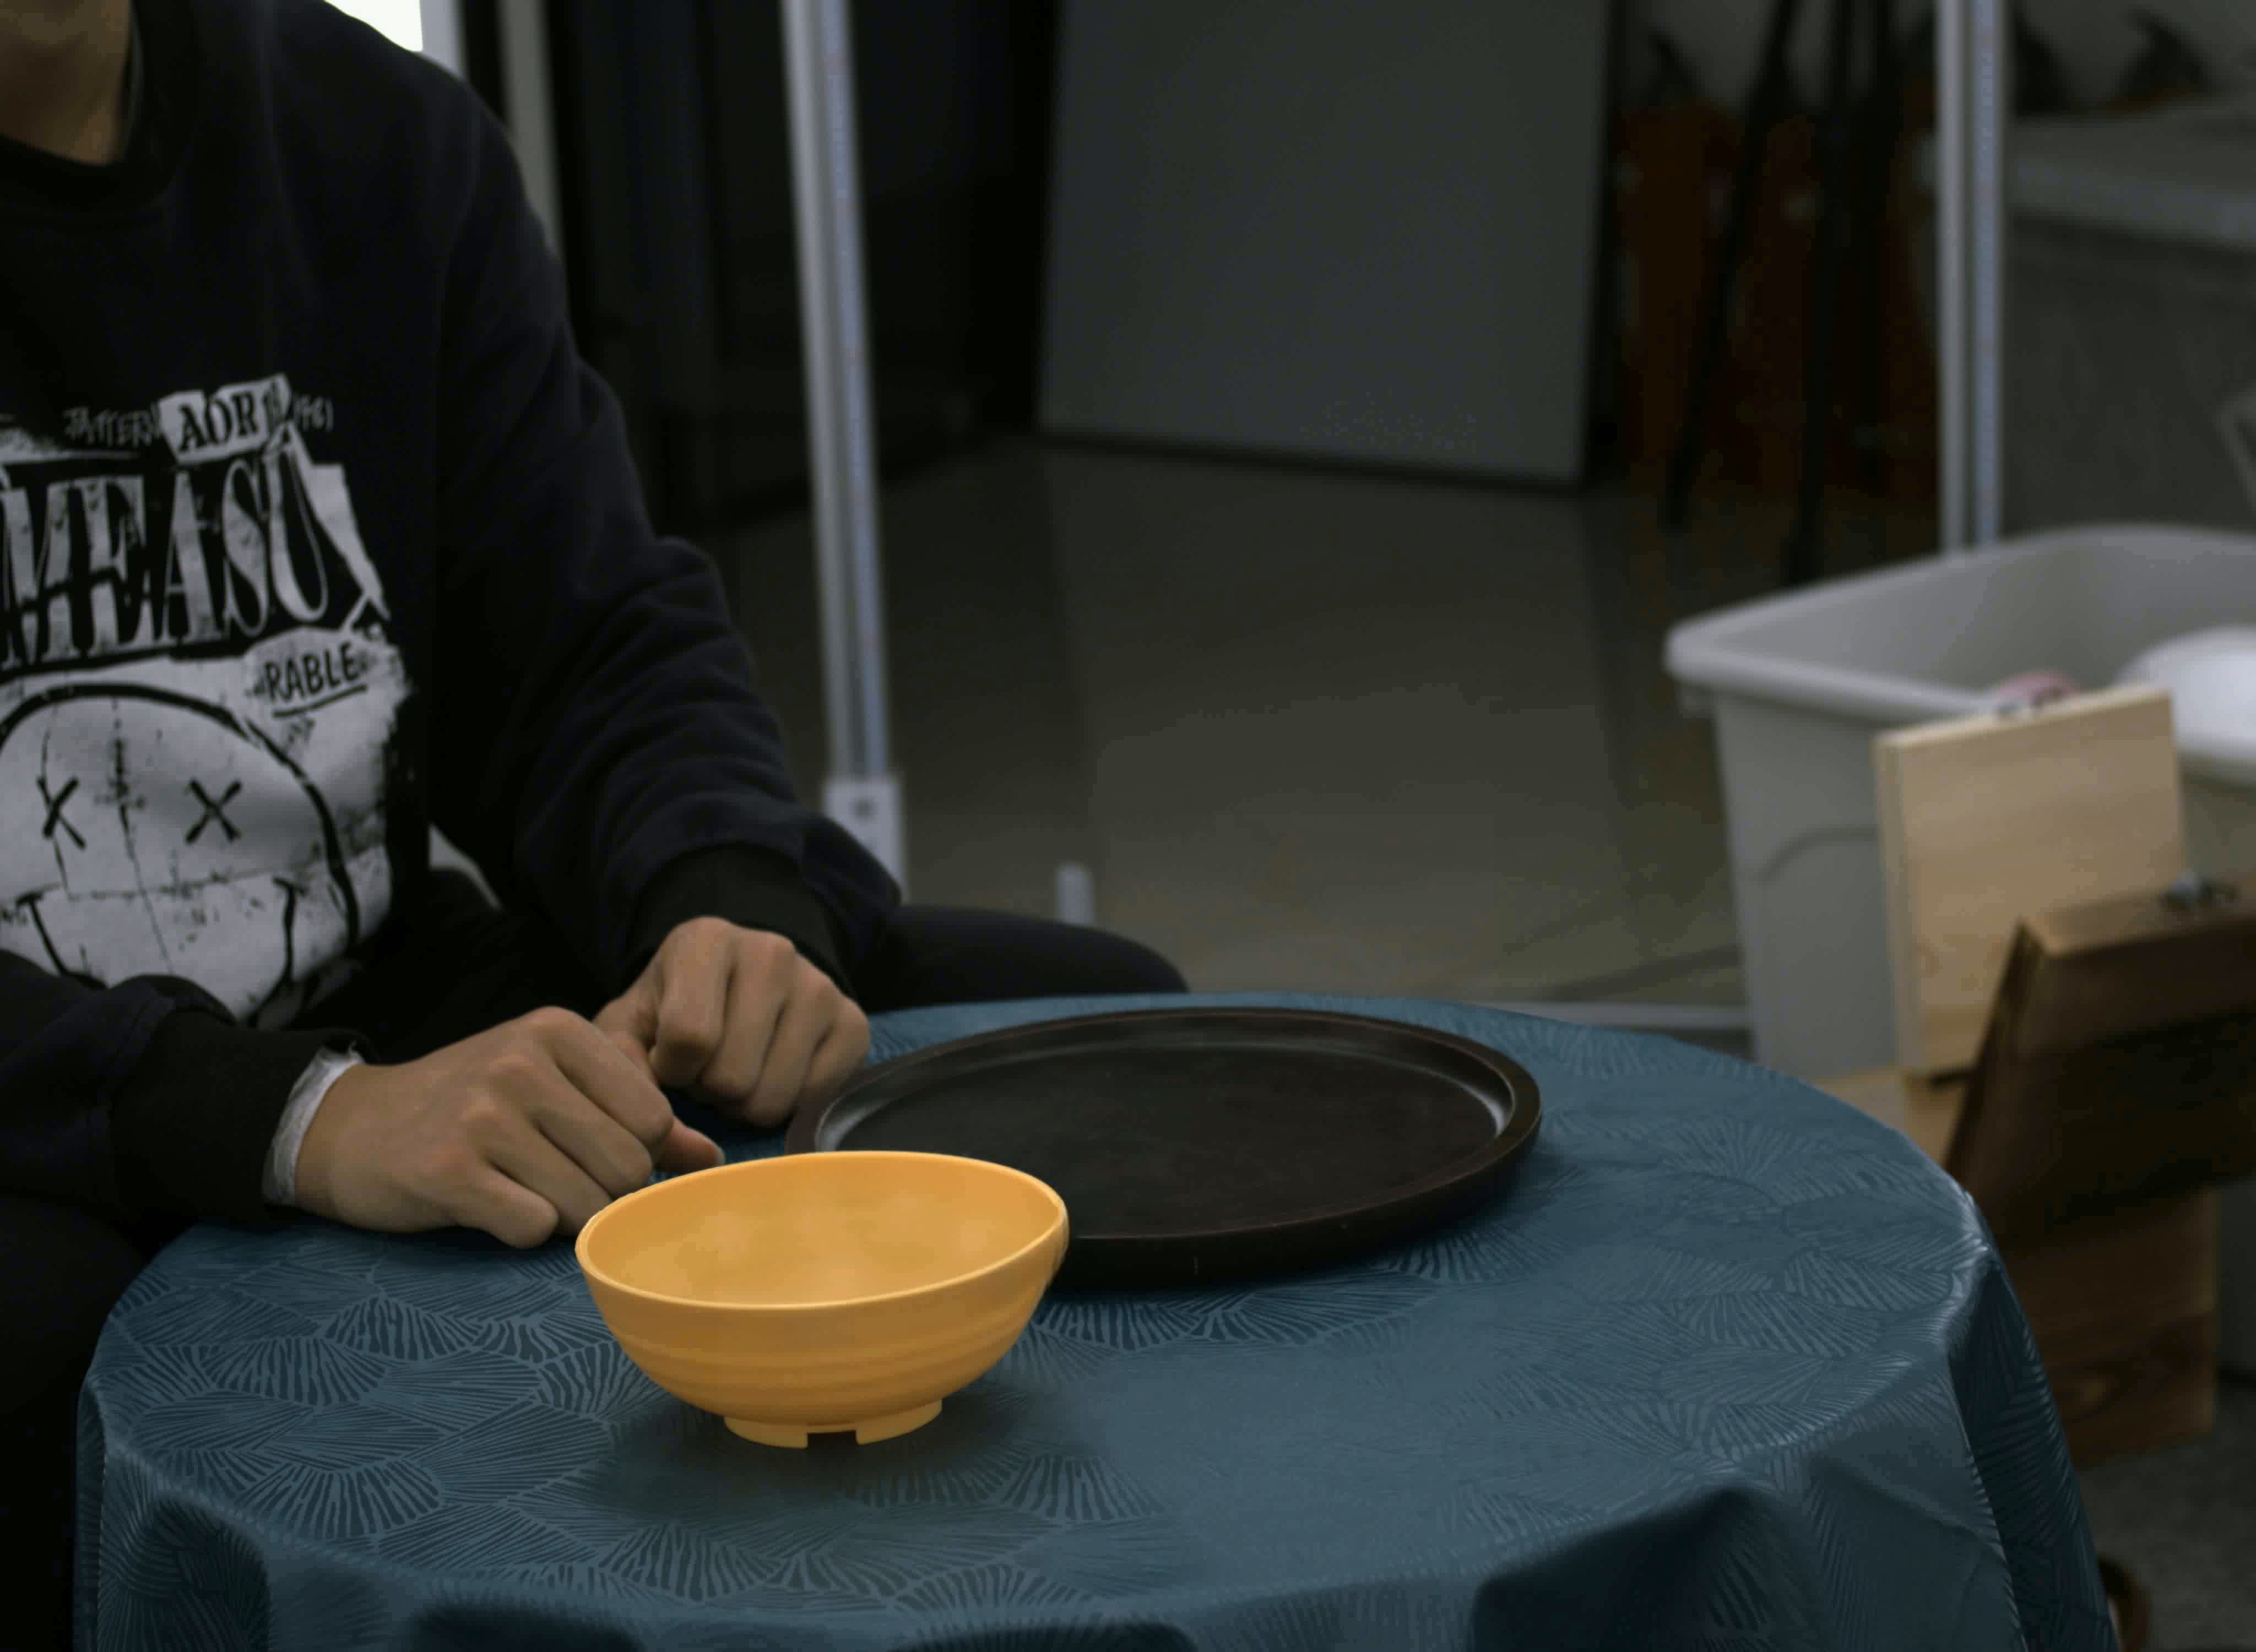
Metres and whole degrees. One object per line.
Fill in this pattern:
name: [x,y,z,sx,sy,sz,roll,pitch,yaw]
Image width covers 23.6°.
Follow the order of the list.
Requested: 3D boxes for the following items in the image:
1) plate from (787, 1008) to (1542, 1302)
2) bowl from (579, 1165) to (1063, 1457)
plate: [0.013,0.106,1.782,0.251,0.029,0.255,-6,14,1]
bowl: [-0.087,0.146,1.579,0.143,0.061,0.145,-5,12,0]
